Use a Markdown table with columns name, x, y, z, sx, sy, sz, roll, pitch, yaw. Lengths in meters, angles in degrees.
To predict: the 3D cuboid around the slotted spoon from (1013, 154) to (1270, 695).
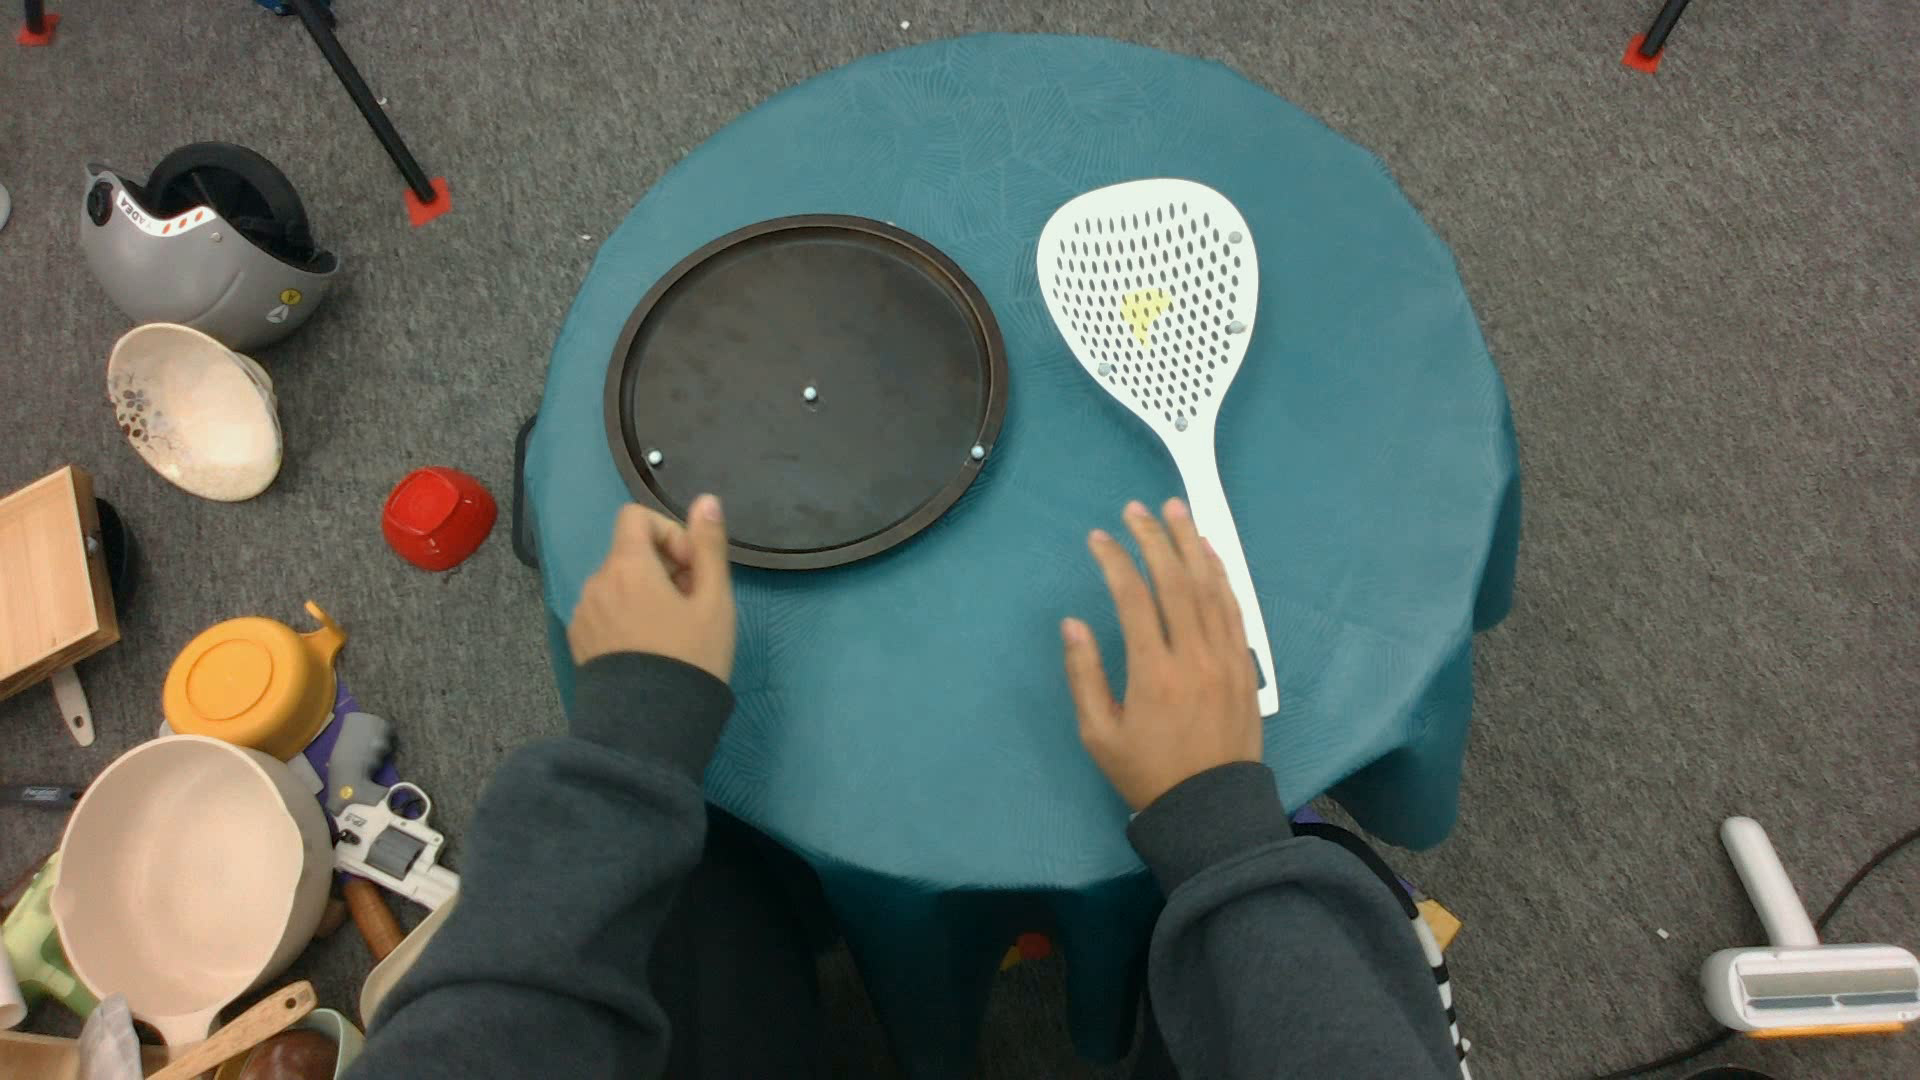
| name | x | y | z | sx | sy | sz | roll | pitch | yaw |
| --- | --- | --- | --- | --- | --- | --- | --- | --- | --- |
| slotted spoon | 0.124 | -0.077 | 0.822 | 0.137 | 0.050 | 0.349 | -11 | 67 | -4 |

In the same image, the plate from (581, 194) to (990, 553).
| name | x | y | z | sx | sy | sz | roll | pitch | yaw |
| --- | --- | --- | --- | --- | --- | --- | --- | --- | --- |
| plate | -0.108 | -0.107 | 0.856 | 0.255 | 0.029 | 0.255 | 0 | 67 | 1 |
